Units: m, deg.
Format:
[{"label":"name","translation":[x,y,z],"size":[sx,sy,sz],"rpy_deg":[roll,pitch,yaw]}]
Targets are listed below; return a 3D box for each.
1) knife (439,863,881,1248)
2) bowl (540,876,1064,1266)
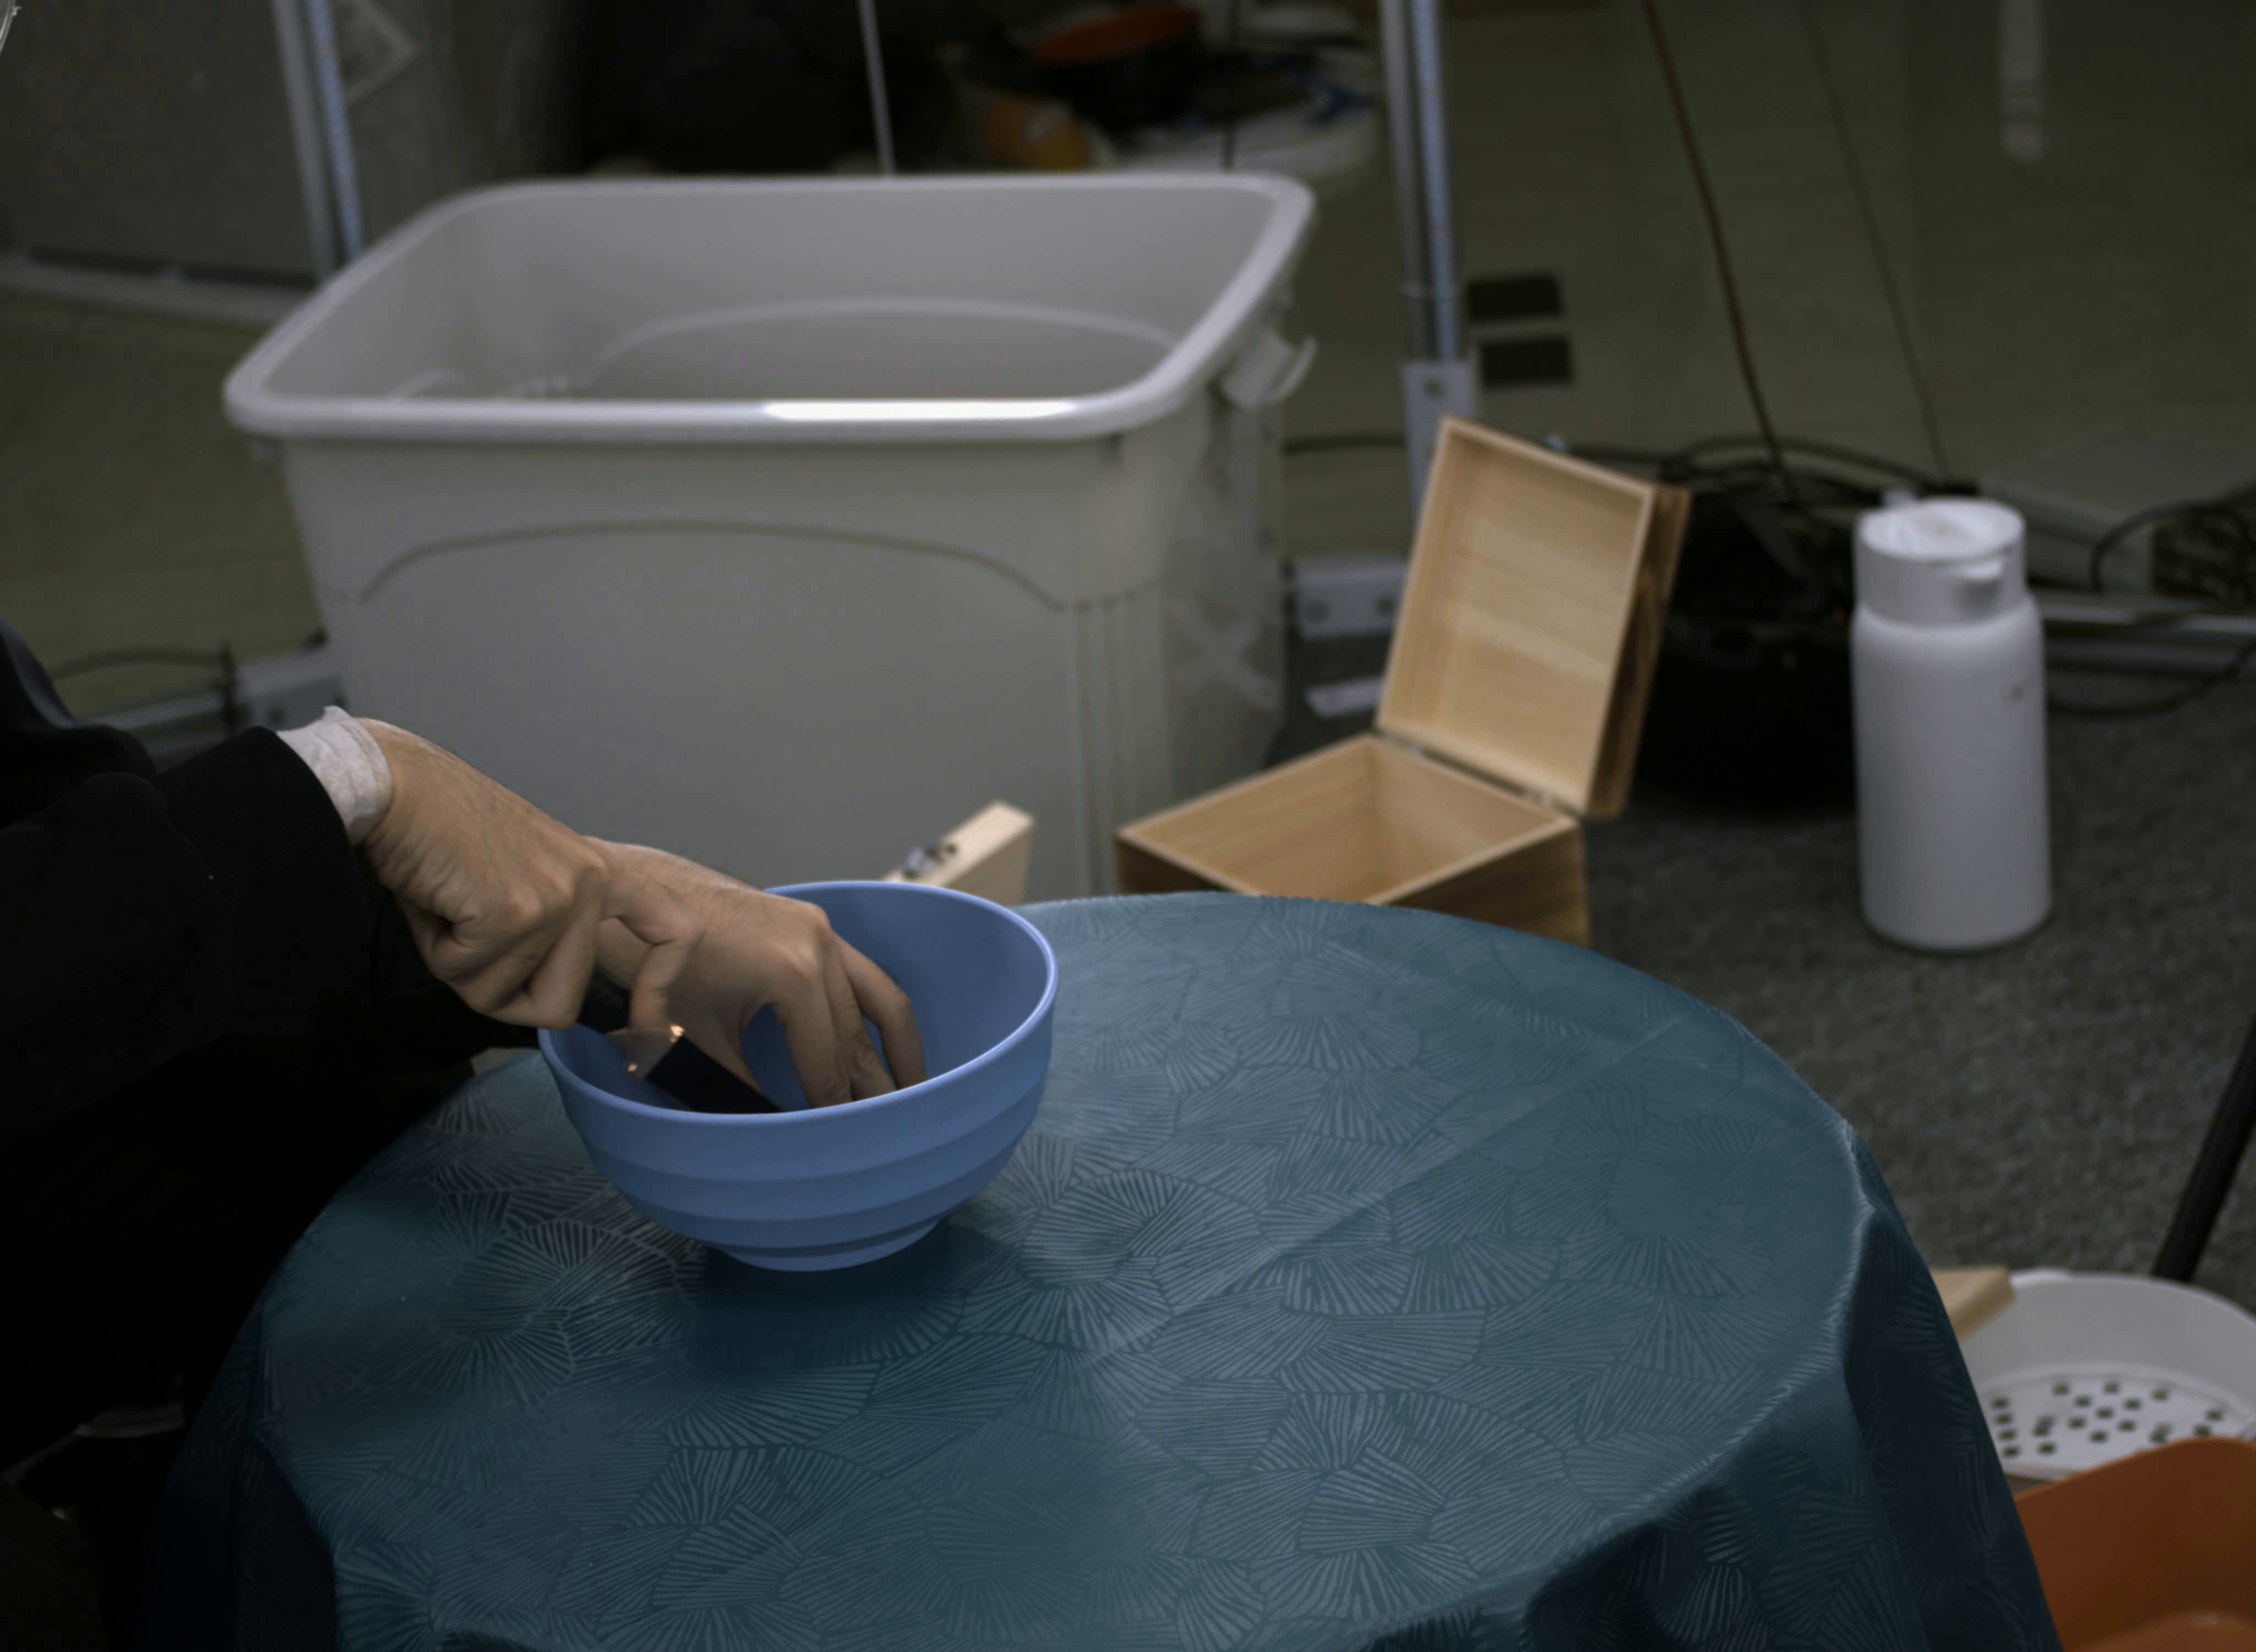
[{"label":"knife","translation":[-0.167,0.086,2.076],"size":[0.026,0.228,0.017],"rpy_deg":[-49,25,0]},{"label":"bowl","translation":[-0.119,0.103,2.134],"size":[0.196,0.097,0.193],"rpy_deg":[-3,25,1]}]
